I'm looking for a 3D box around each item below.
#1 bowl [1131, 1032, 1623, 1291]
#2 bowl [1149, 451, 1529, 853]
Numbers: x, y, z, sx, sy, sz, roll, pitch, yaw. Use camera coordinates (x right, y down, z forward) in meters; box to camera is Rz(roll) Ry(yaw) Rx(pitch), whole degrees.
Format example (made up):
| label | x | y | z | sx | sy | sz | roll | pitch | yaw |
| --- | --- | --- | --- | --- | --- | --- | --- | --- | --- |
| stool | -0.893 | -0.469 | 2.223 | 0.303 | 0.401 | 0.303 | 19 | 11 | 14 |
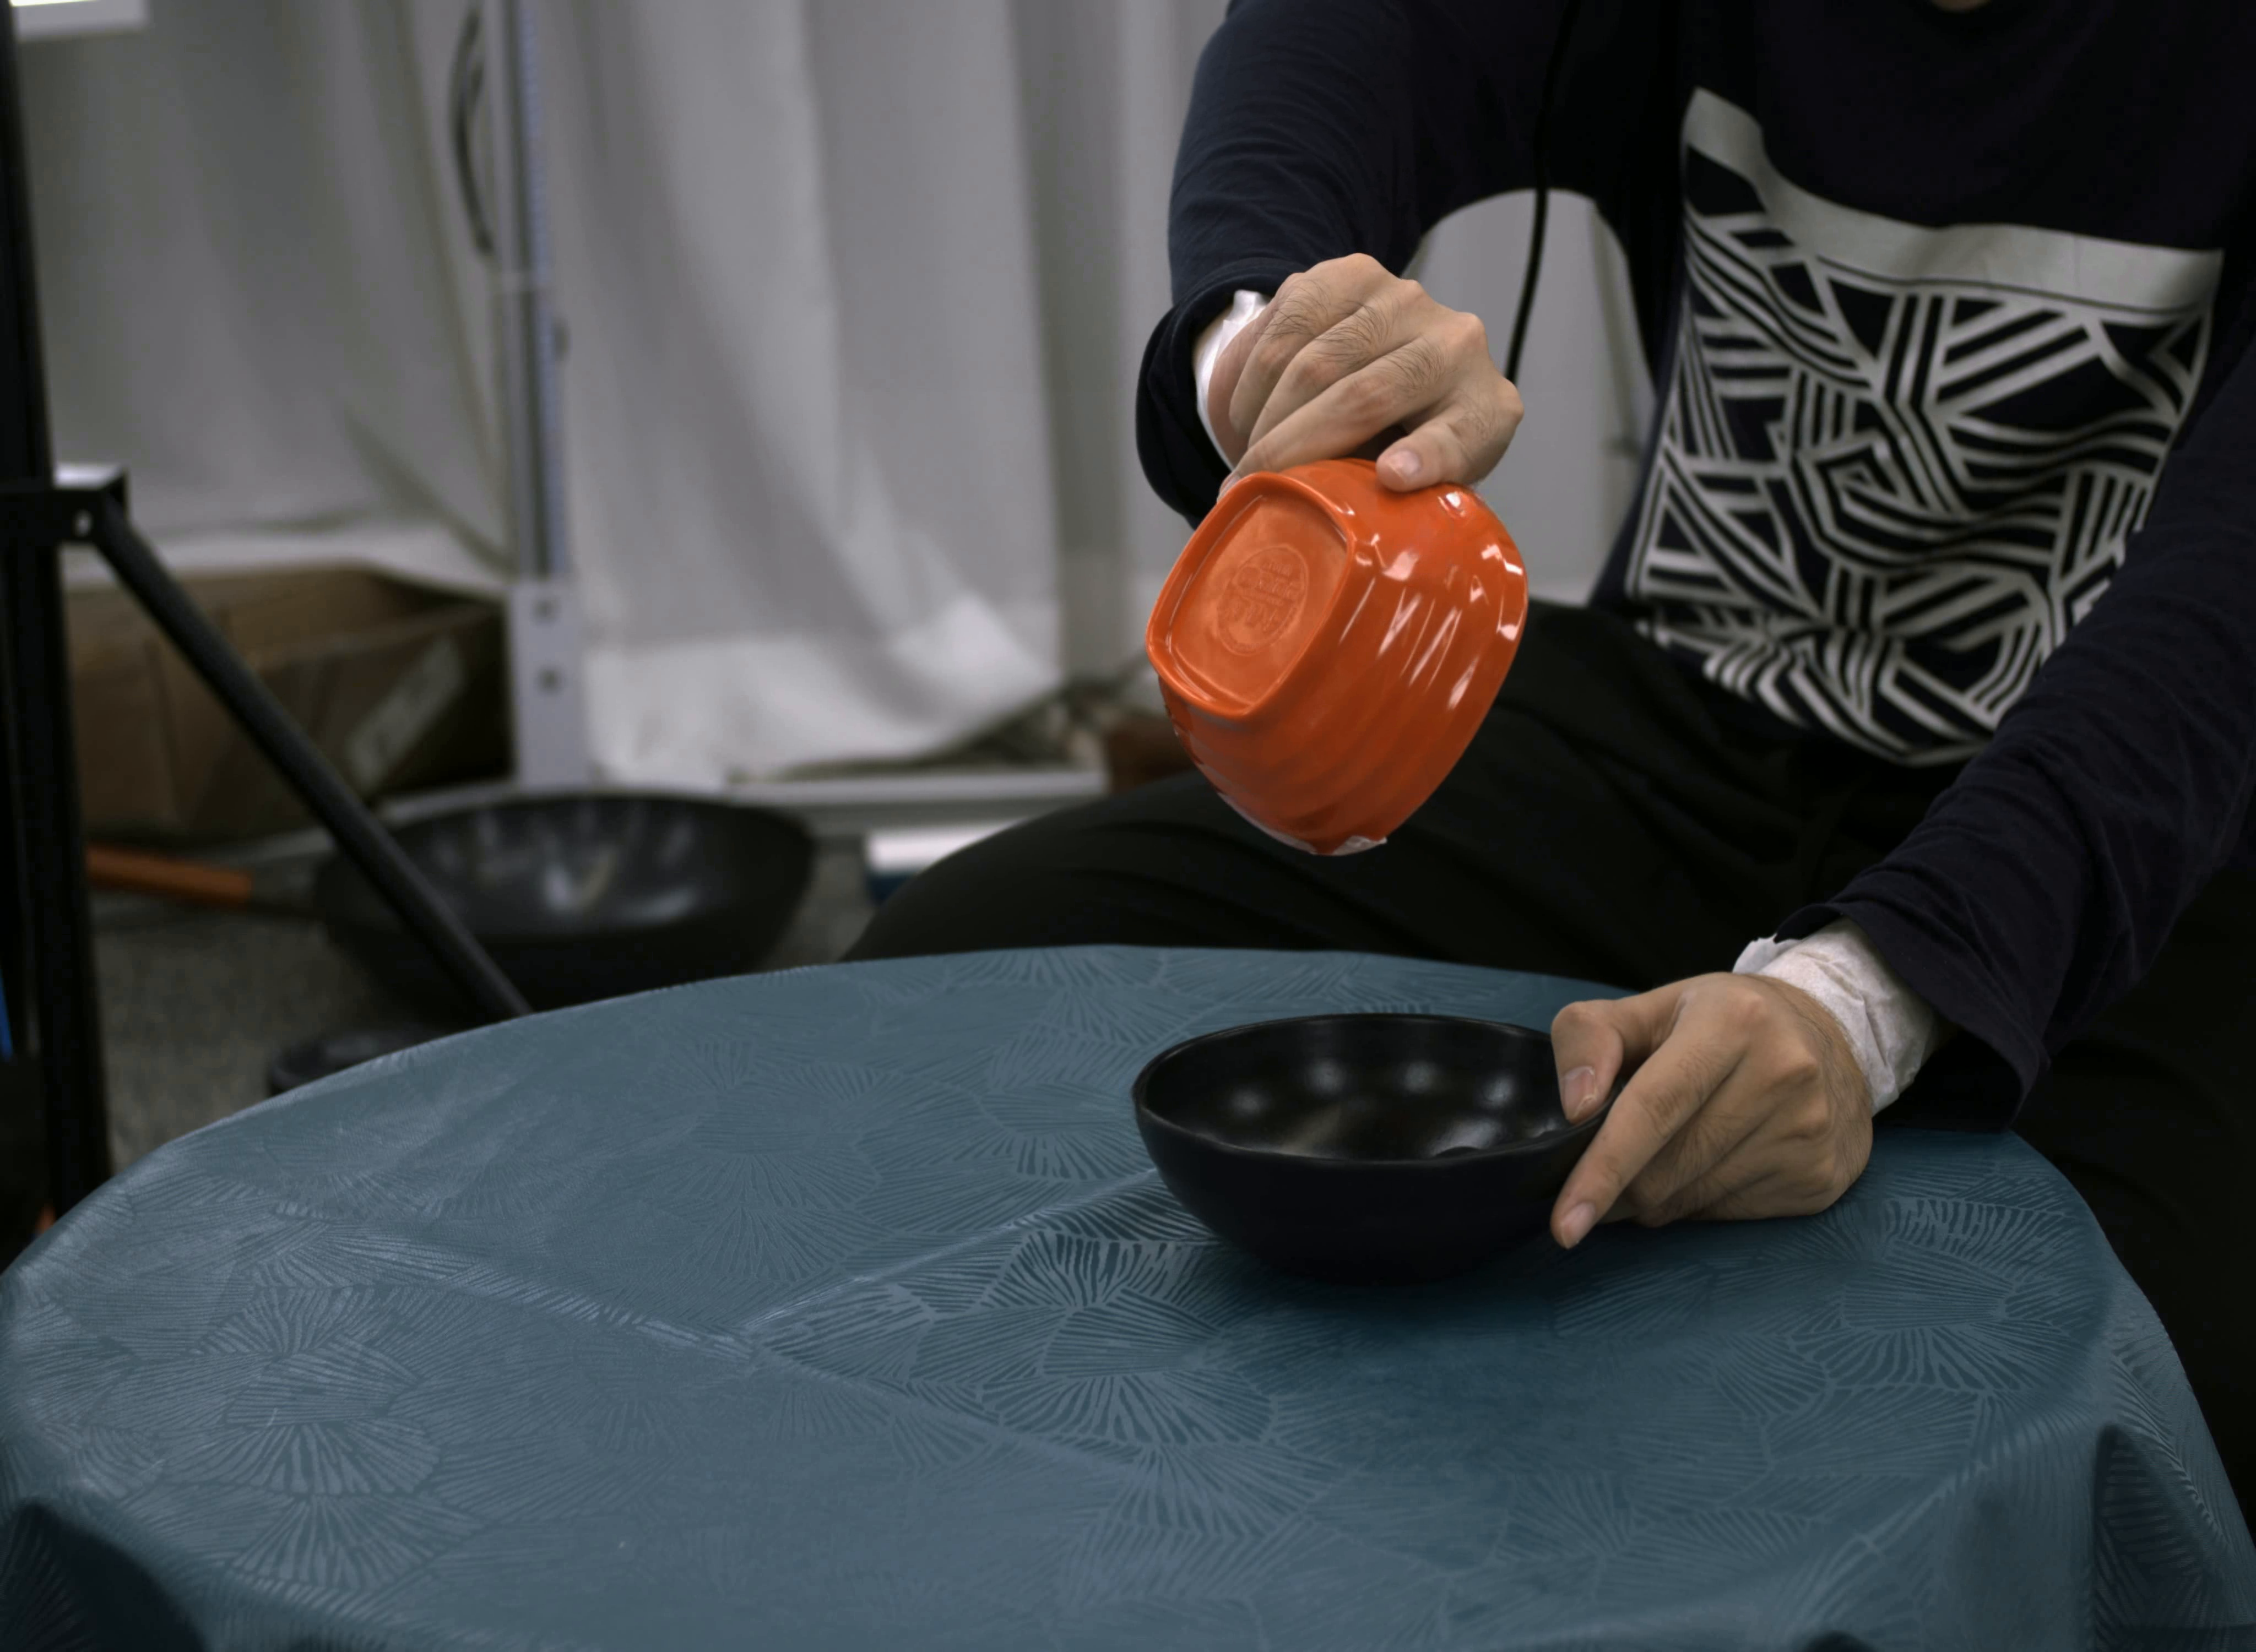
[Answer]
| label | x | y | z | sx | sy | sz | roll | pitch | yaw |
| --- | --- | --- | --- | --- | --- | --- | --- | --- | --- |
| bowl | 0.070 | 0.099 | 1.501 | 0.139 | 0.050 | 0.140 | 1 | 12 | -2 |
| bowl | 0.050 | -0.055 | 1.459 | 0.050 | 0.119 | 0.121 | 27 | -4 | -37 |
